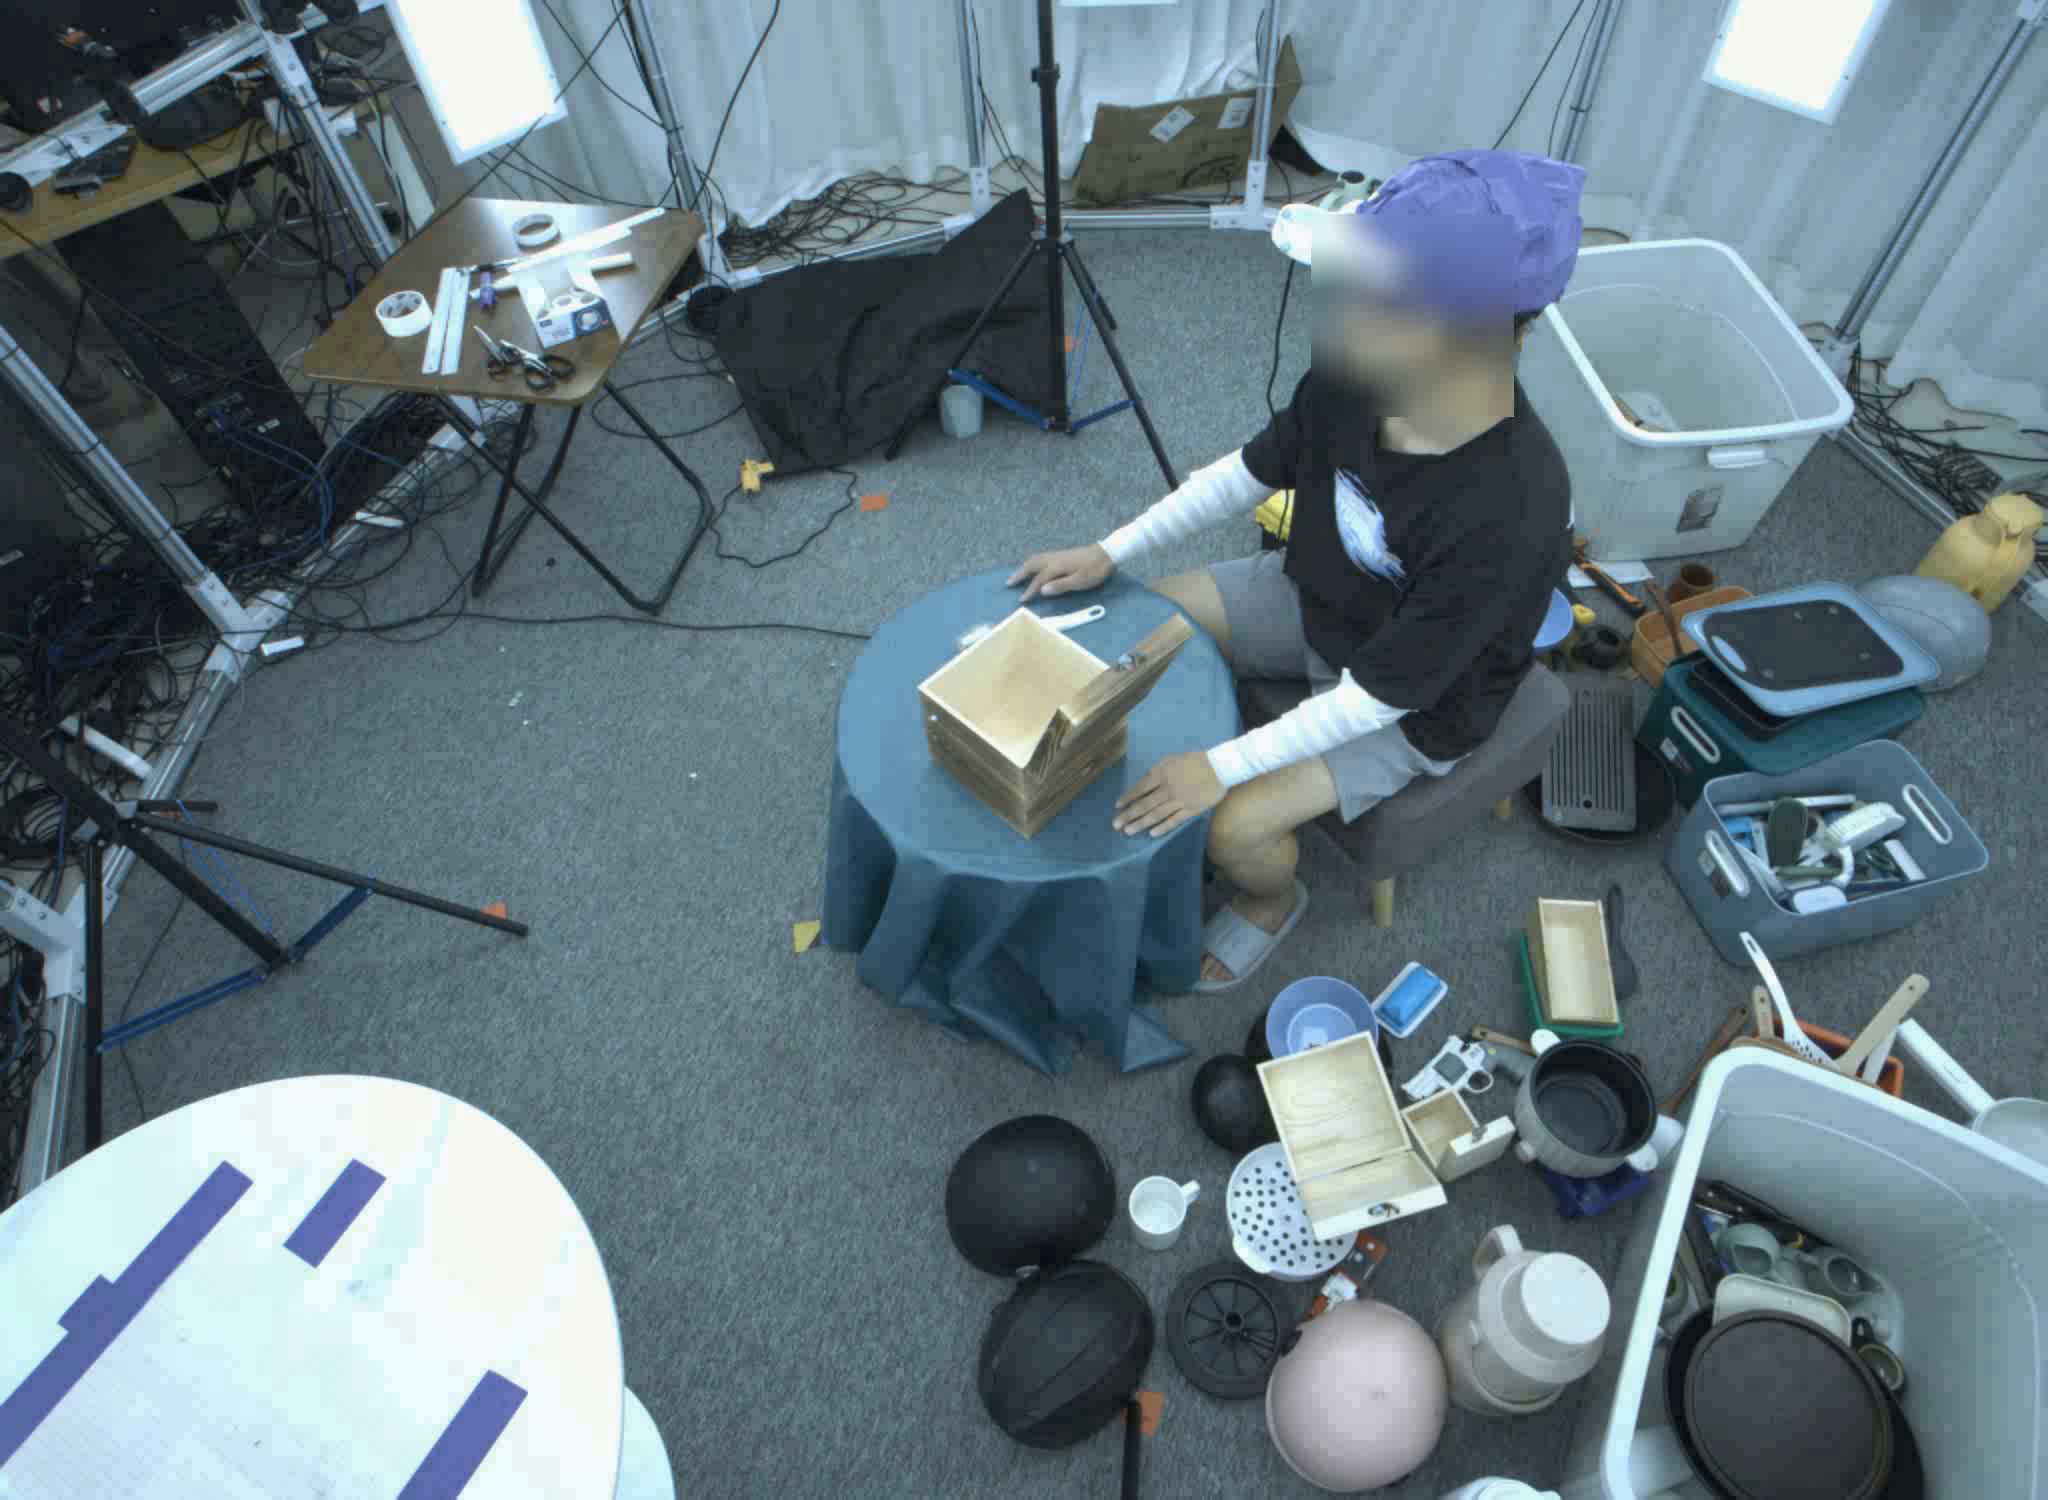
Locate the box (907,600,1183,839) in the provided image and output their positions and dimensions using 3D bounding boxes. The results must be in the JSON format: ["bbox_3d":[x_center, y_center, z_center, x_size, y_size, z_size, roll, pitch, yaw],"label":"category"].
[{"bbox_3d":[0.022,-0.073,1.604,0.316,0.379,0.210,37,63,26],"label":"box"}]

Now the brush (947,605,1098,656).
[{"bbox_3d":[0.000,-0.194,1.887,0.245,0.051,0.034,-18,55,-10],"label":"brush"}]
